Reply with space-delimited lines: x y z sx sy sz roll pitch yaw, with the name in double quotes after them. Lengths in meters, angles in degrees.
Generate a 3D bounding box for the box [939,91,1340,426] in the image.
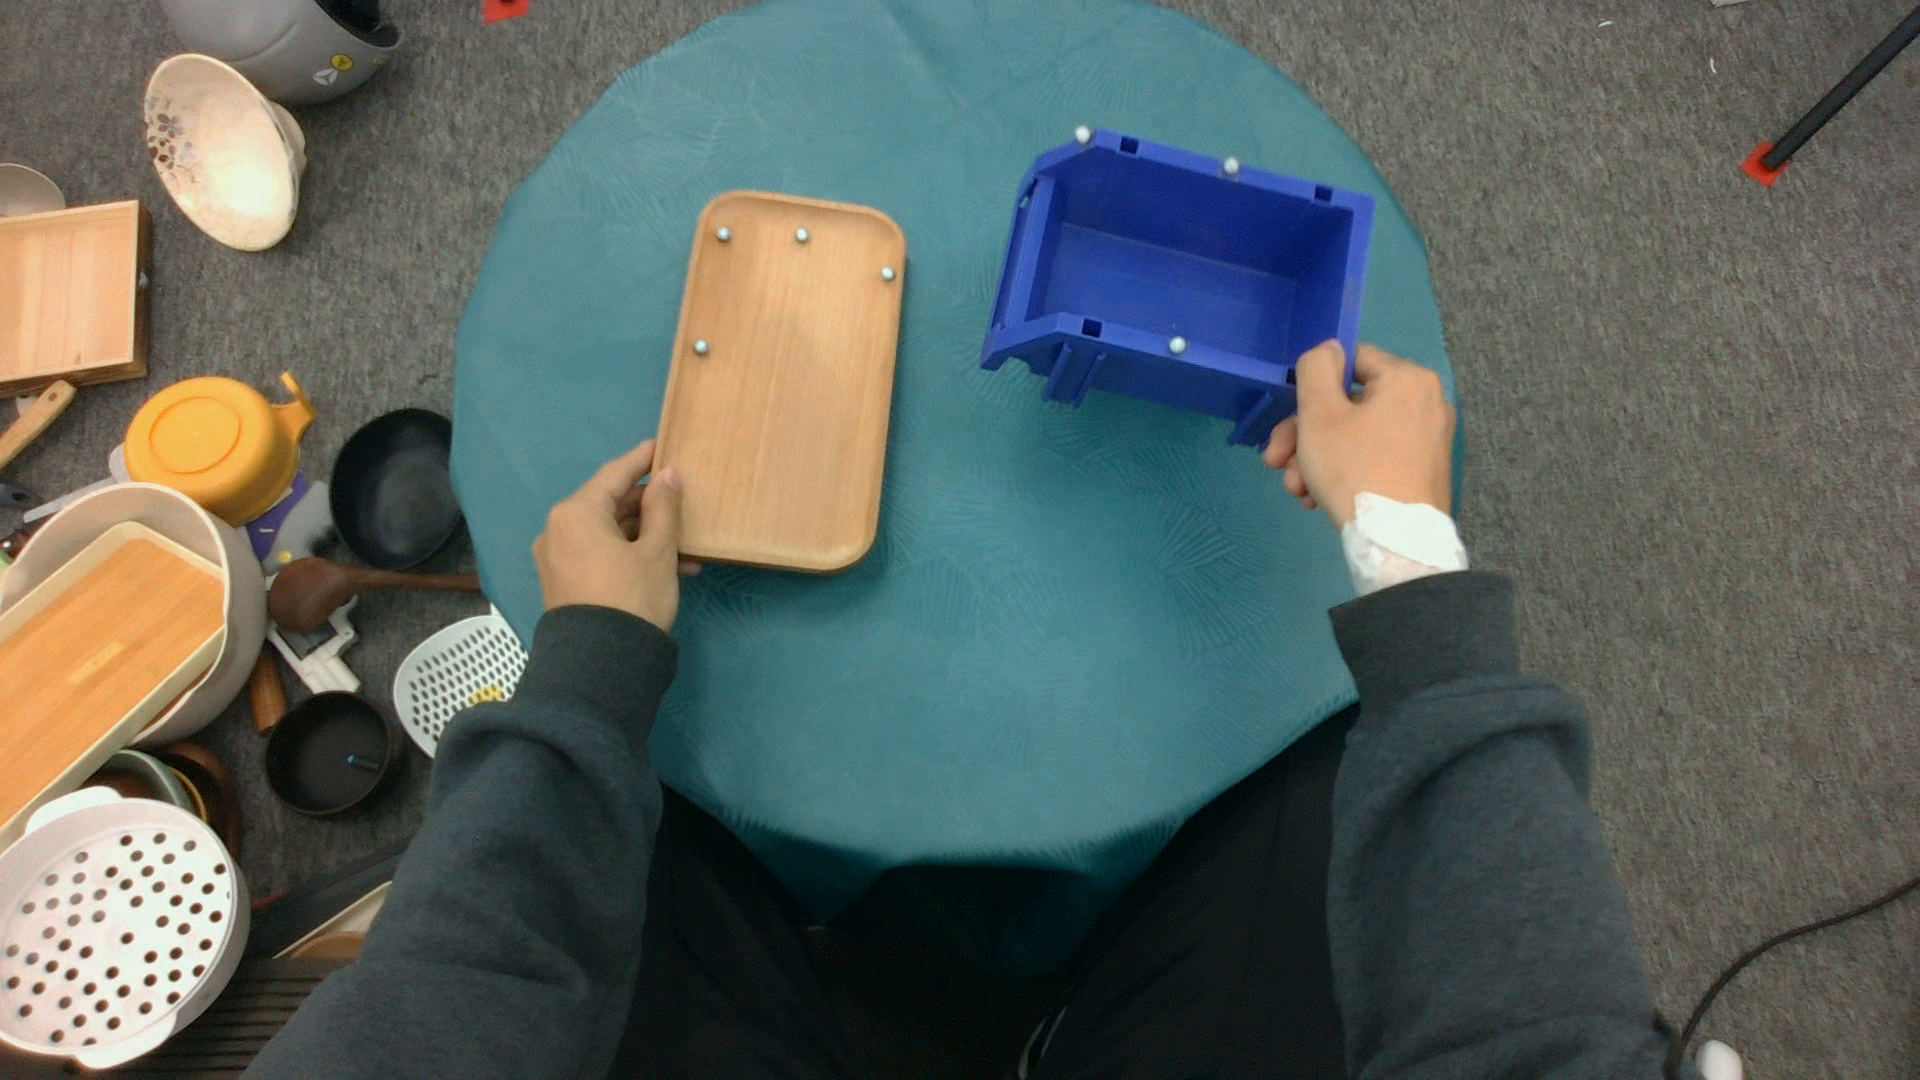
0.090 -0.144 0.716 0.179 0.081 0.125 14 73 -7 "box"

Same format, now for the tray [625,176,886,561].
-0.113 -0.104 0.795 0.130 0.023 0.251 6 64 -5 "tray"
